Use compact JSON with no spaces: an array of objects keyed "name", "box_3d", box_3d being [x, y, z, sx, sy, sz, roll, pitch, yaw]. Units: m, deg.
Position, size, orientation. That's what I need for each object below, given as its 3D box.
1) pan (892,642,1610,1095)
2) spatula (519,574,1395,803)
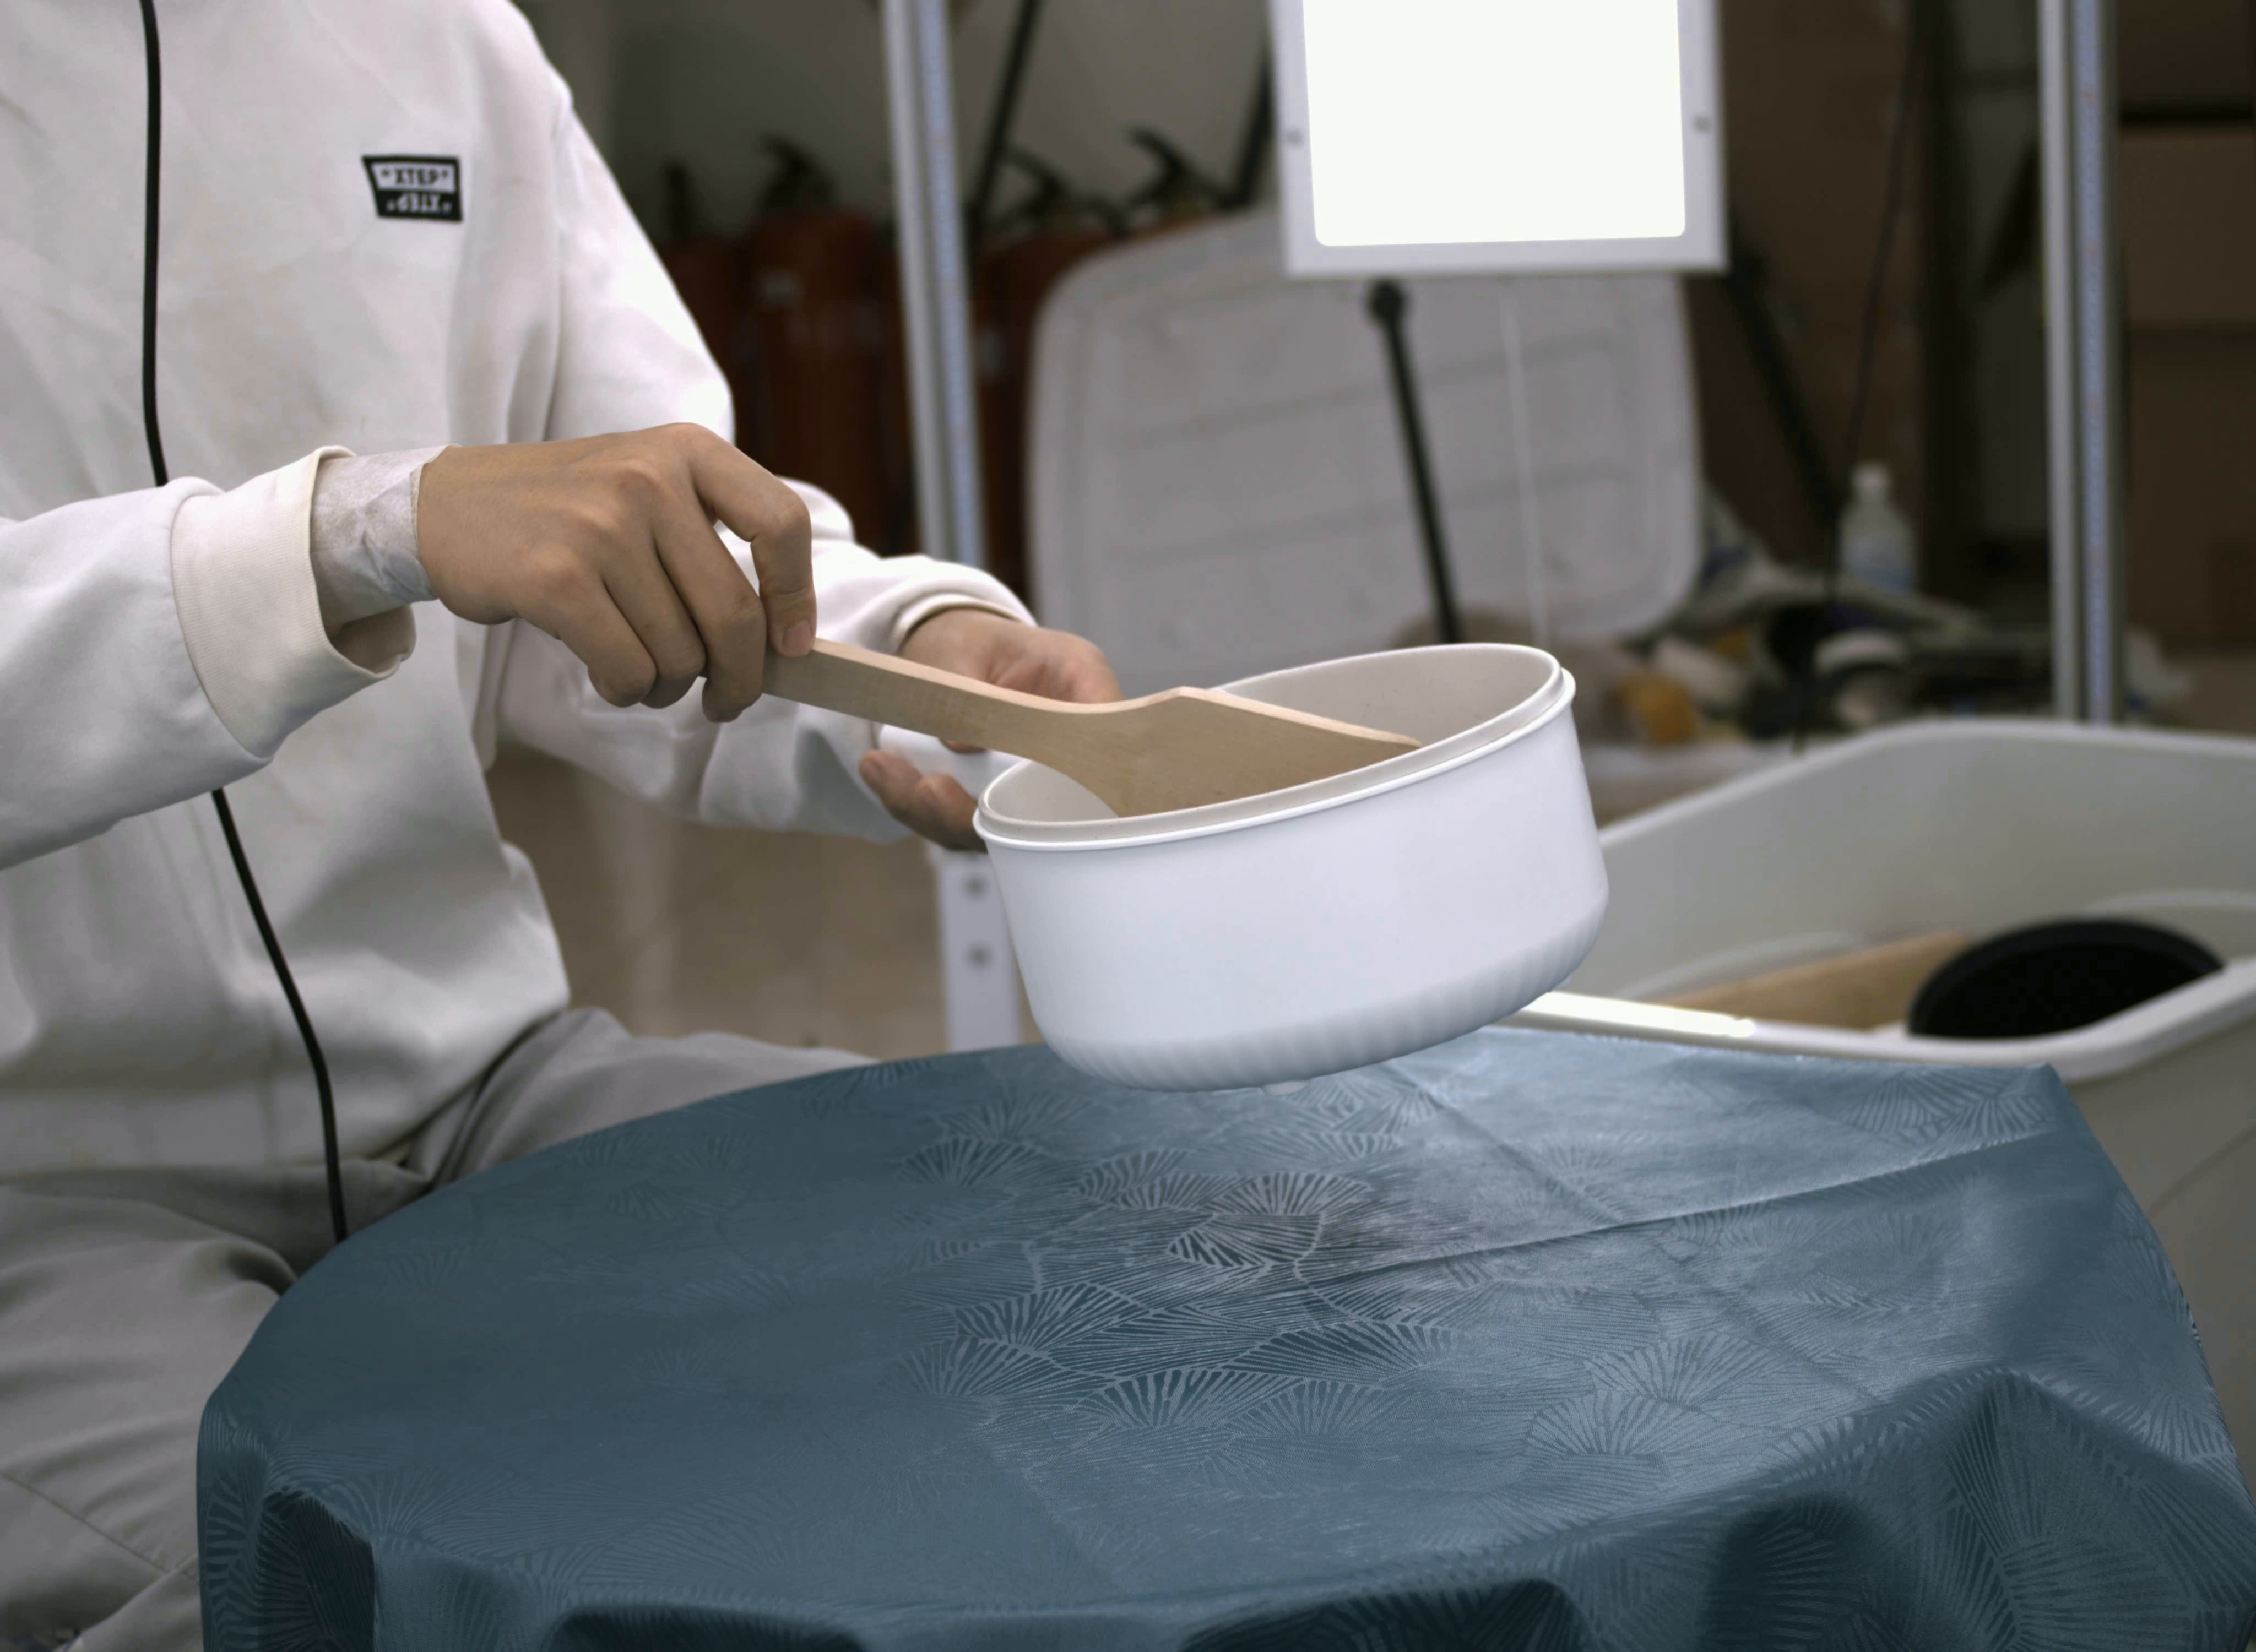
[{"name":"pan","box_3d":[0.021,0.013,1.864,0.197,0.102,0.361,-21,12,-25]},{"name":"spatula","box_3d":[-0.055,-0.039,1.786,0.291,0.073,0.010,14,49,-4]}]
